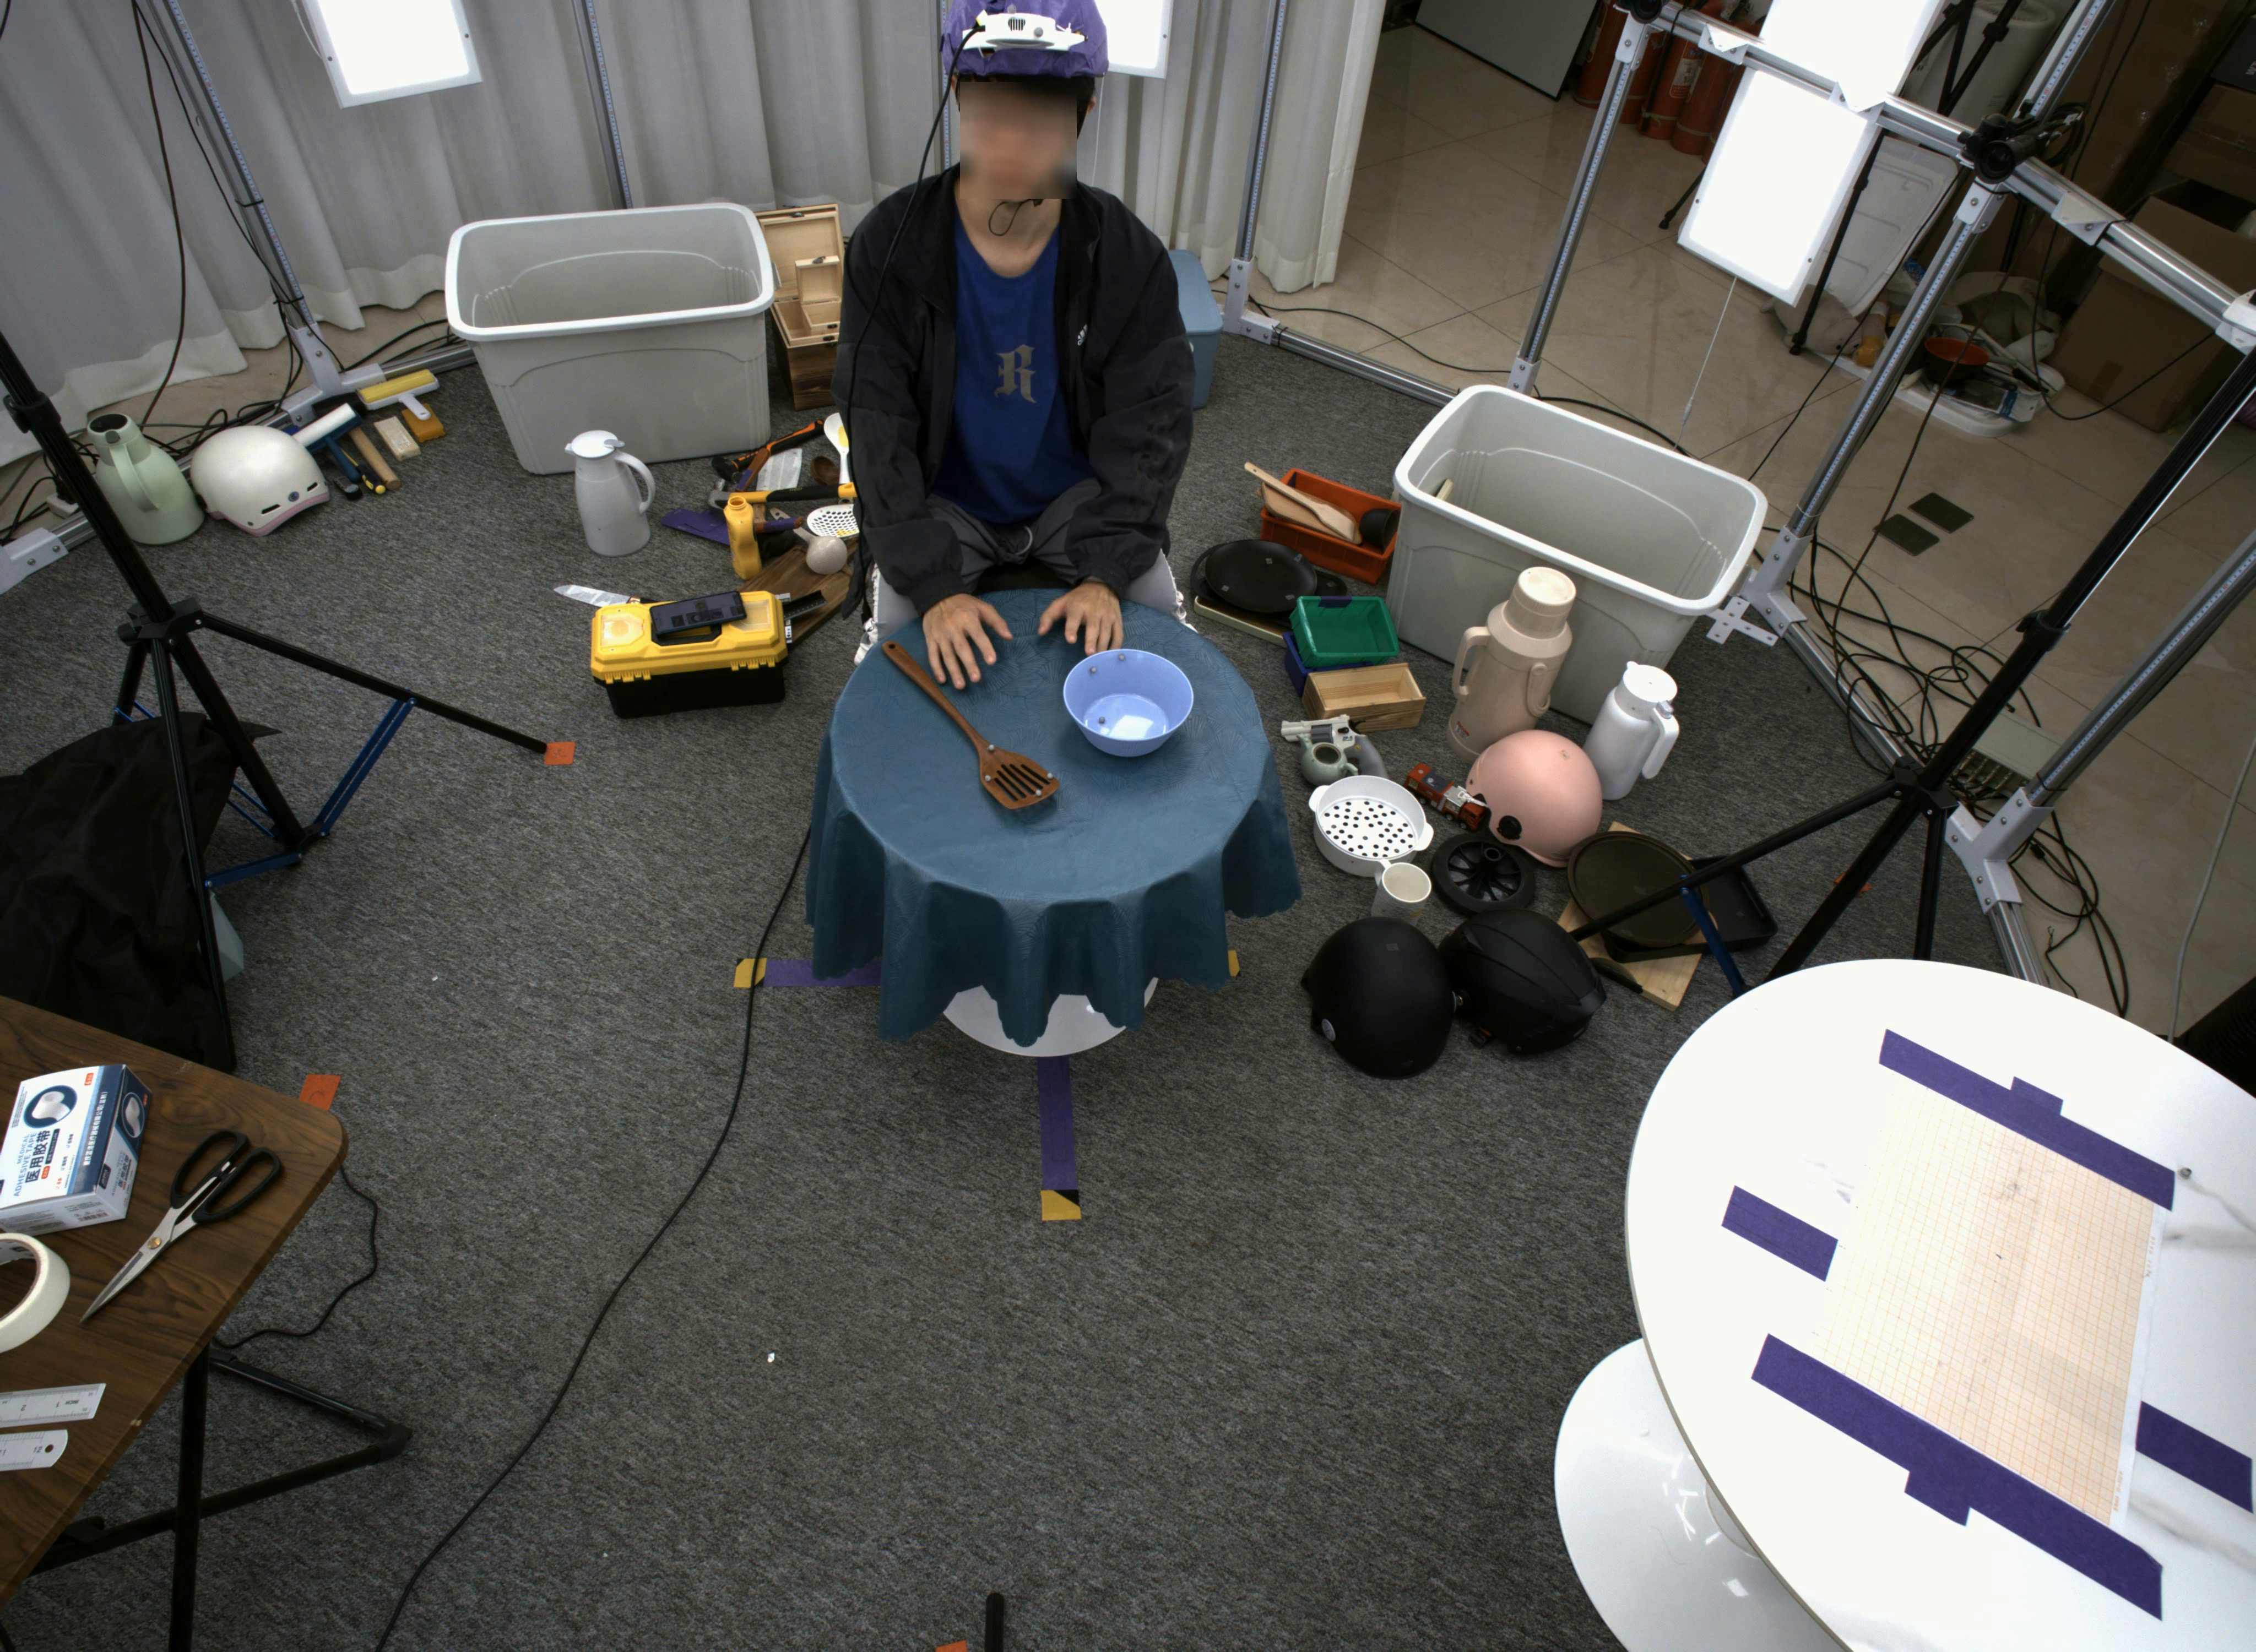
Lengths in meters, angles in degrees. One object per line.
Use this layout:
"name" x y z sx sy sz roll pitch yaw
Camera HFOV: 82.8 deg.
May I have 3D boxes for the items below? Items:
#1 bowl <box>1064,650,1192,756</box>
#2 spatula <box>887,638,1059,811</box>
"bowl" -0.001 -0.160 1.765 0.176 0.068 0.180 2 49 -2
"spatula" -0.231 -0.147 1.773 0.086 0.023 0.394 -27 55 -24
